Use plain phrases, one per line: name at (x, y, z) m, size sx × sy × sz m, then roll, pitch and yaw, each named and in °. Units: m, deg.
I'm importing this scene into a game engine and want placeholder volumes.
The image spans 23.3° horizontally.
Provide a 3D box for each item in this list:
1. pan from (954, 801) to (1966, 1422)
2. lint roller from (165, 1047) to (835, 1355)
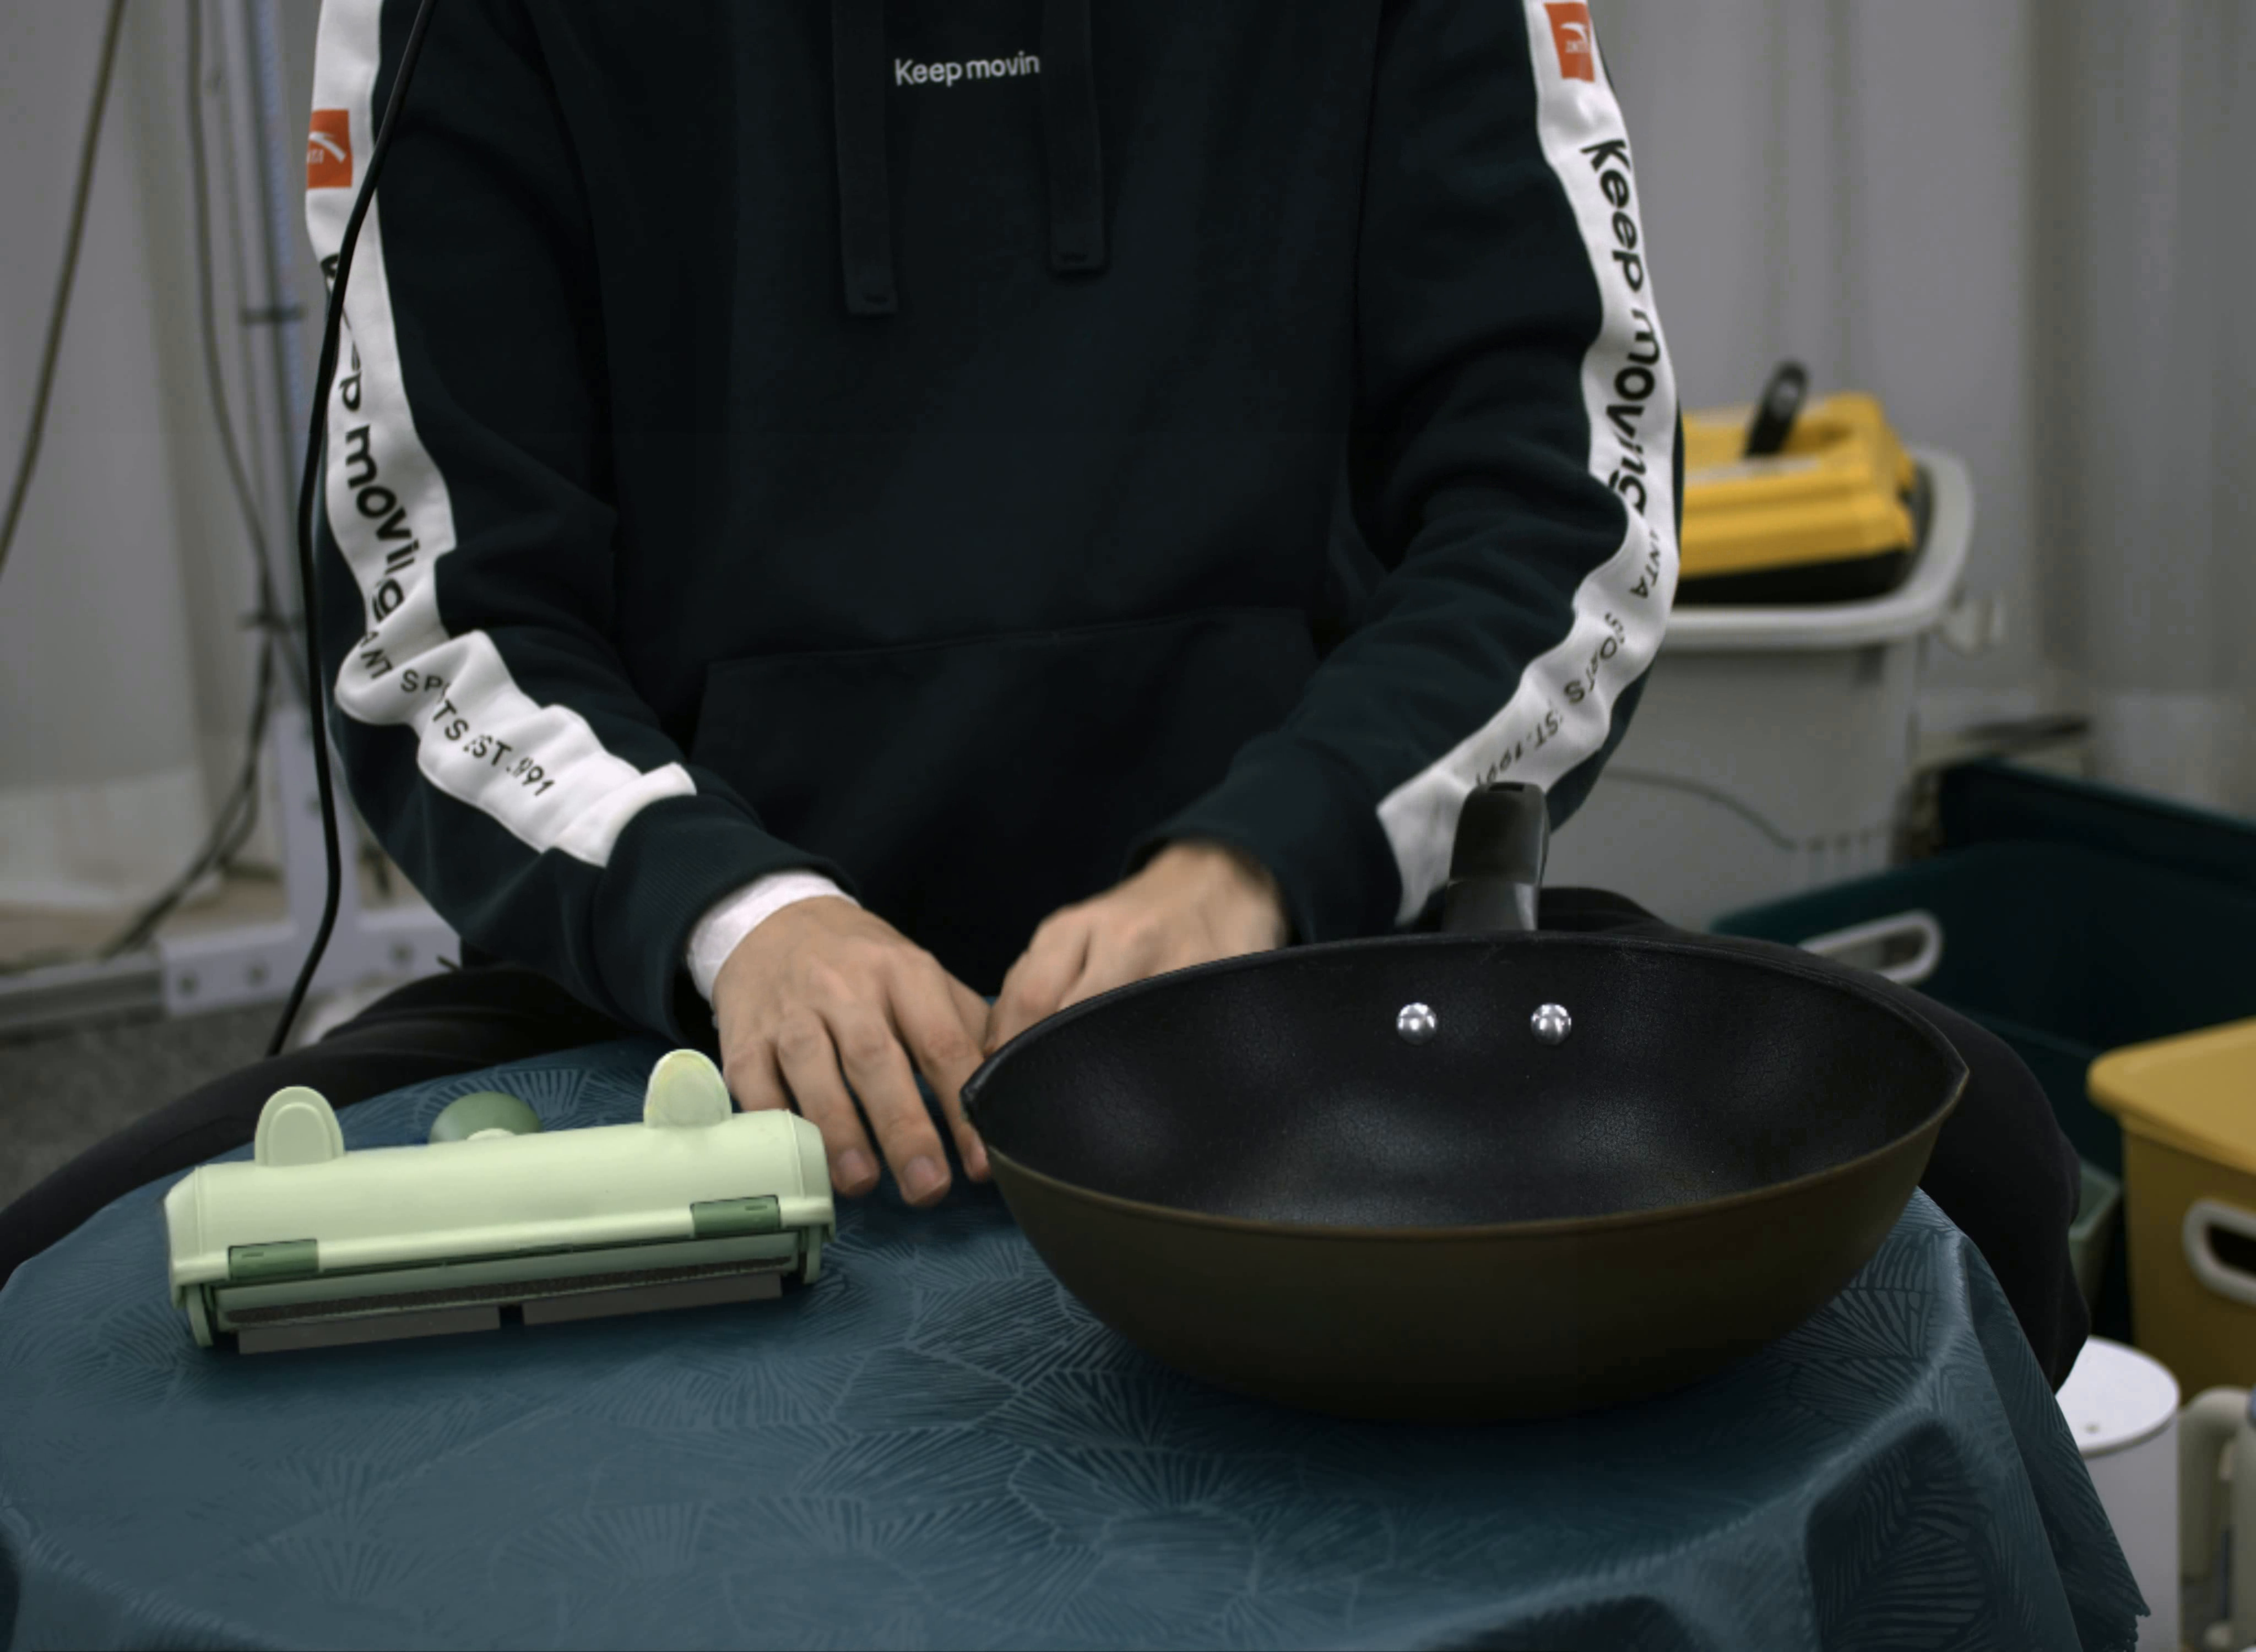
pan at (0.103, 0.084, 1.650) m, size 0.287 × 0.086 × 0.466 m, roll -1°, pitch 14°, yaw 6°
lint roller at (-0.196, 0.095, 1.681) m, size 0.198 × 0.081 × 0.185 m, roll -6°, pitch 20°, yaw -8°
